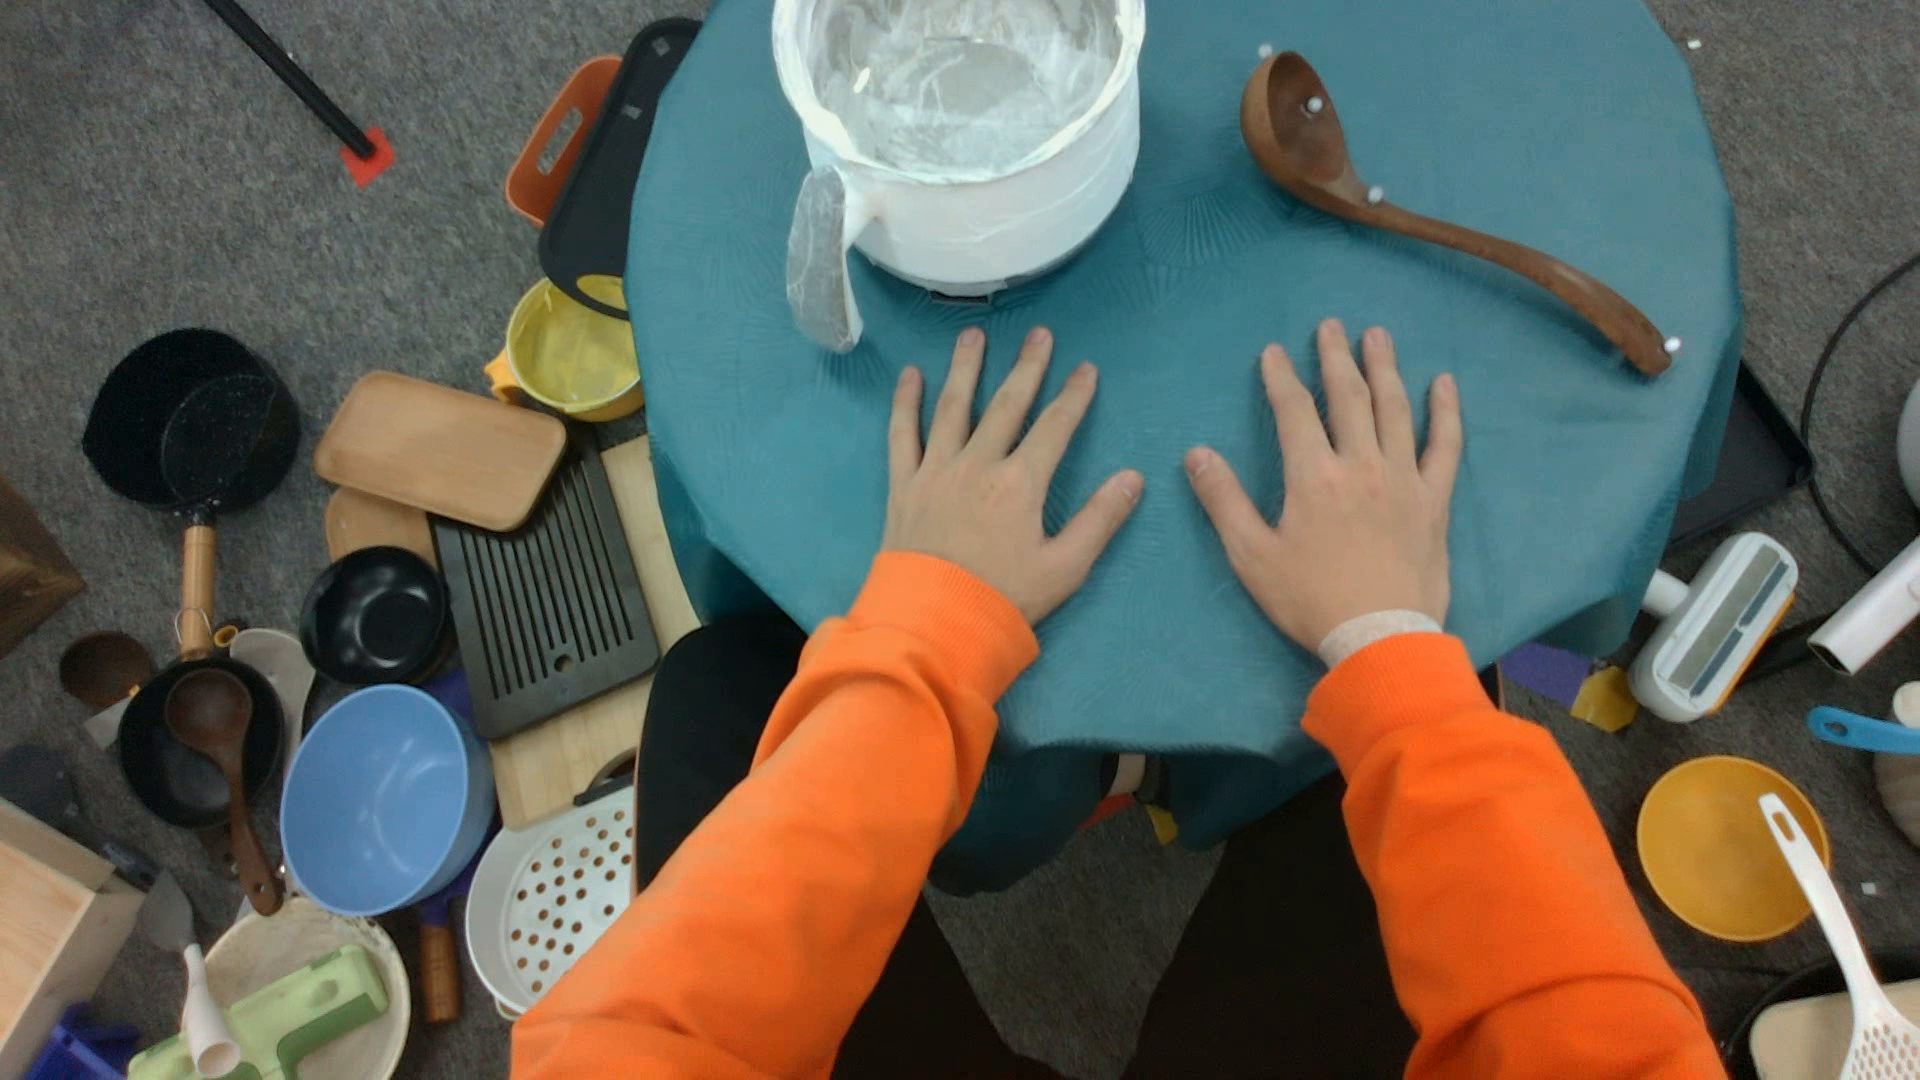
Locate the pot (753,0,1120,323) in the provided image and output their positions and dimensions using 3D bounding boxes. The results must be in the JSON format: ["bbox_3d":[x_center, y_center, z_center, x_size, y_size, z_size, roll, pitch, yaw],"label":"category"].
[{"bbox_3d":[-0.021,-0.222,0.705,0.179,0.136,0.234,32,79,13],"label":"pot"}]

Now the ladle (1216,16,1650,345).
[{"bbox_3d":[0.247,-0.186,0.711,0.260,0.065,0.077,32,55,13],"label":"ladle"}]
